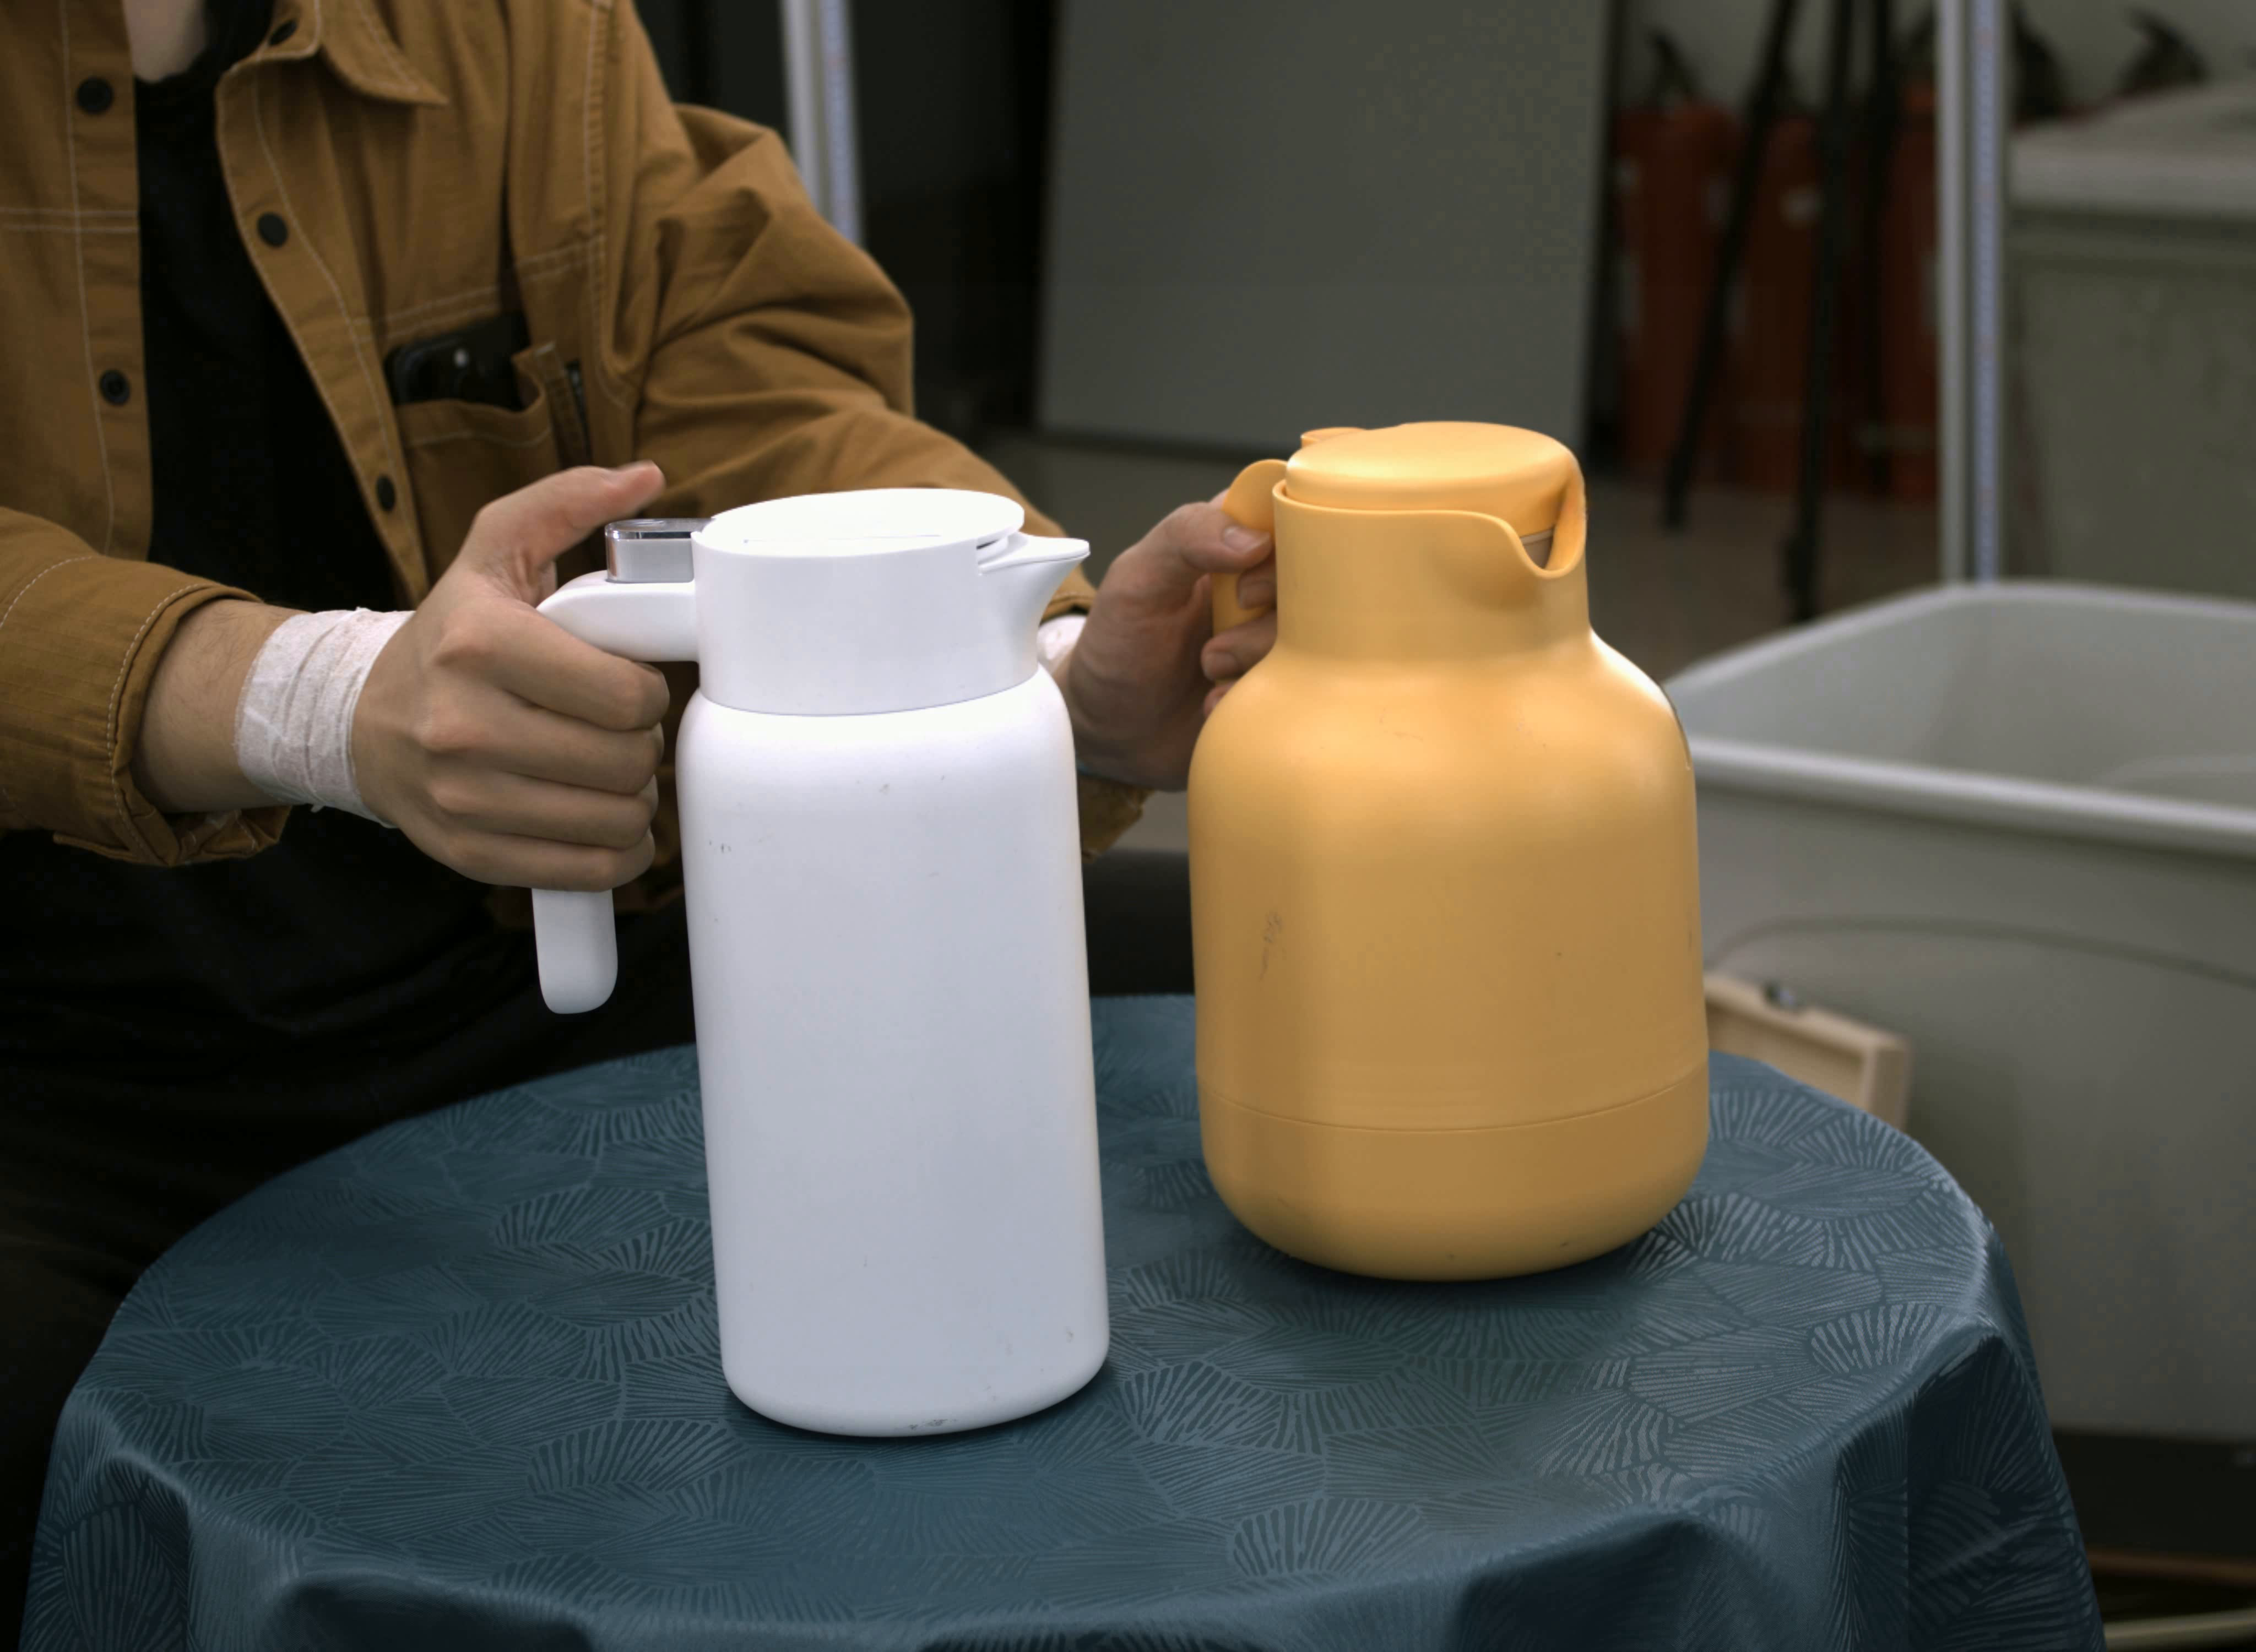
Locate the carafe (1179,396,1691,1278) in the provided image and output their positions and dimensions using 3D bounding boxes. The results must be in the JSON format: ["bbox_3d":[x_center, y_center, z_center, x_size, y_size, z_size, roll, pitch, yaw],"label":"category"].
[{"bbox_3d":[0.088,-0.005,1.701,0.160,0.263,0.204,-7,15,-24],"label":"carafe"}]

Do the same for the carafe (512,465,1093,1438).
[{"bbox_3d":[-0.090,0.036,1.583,0.172,0.272,0.123,0,16,12],"label":"carafe"}]
